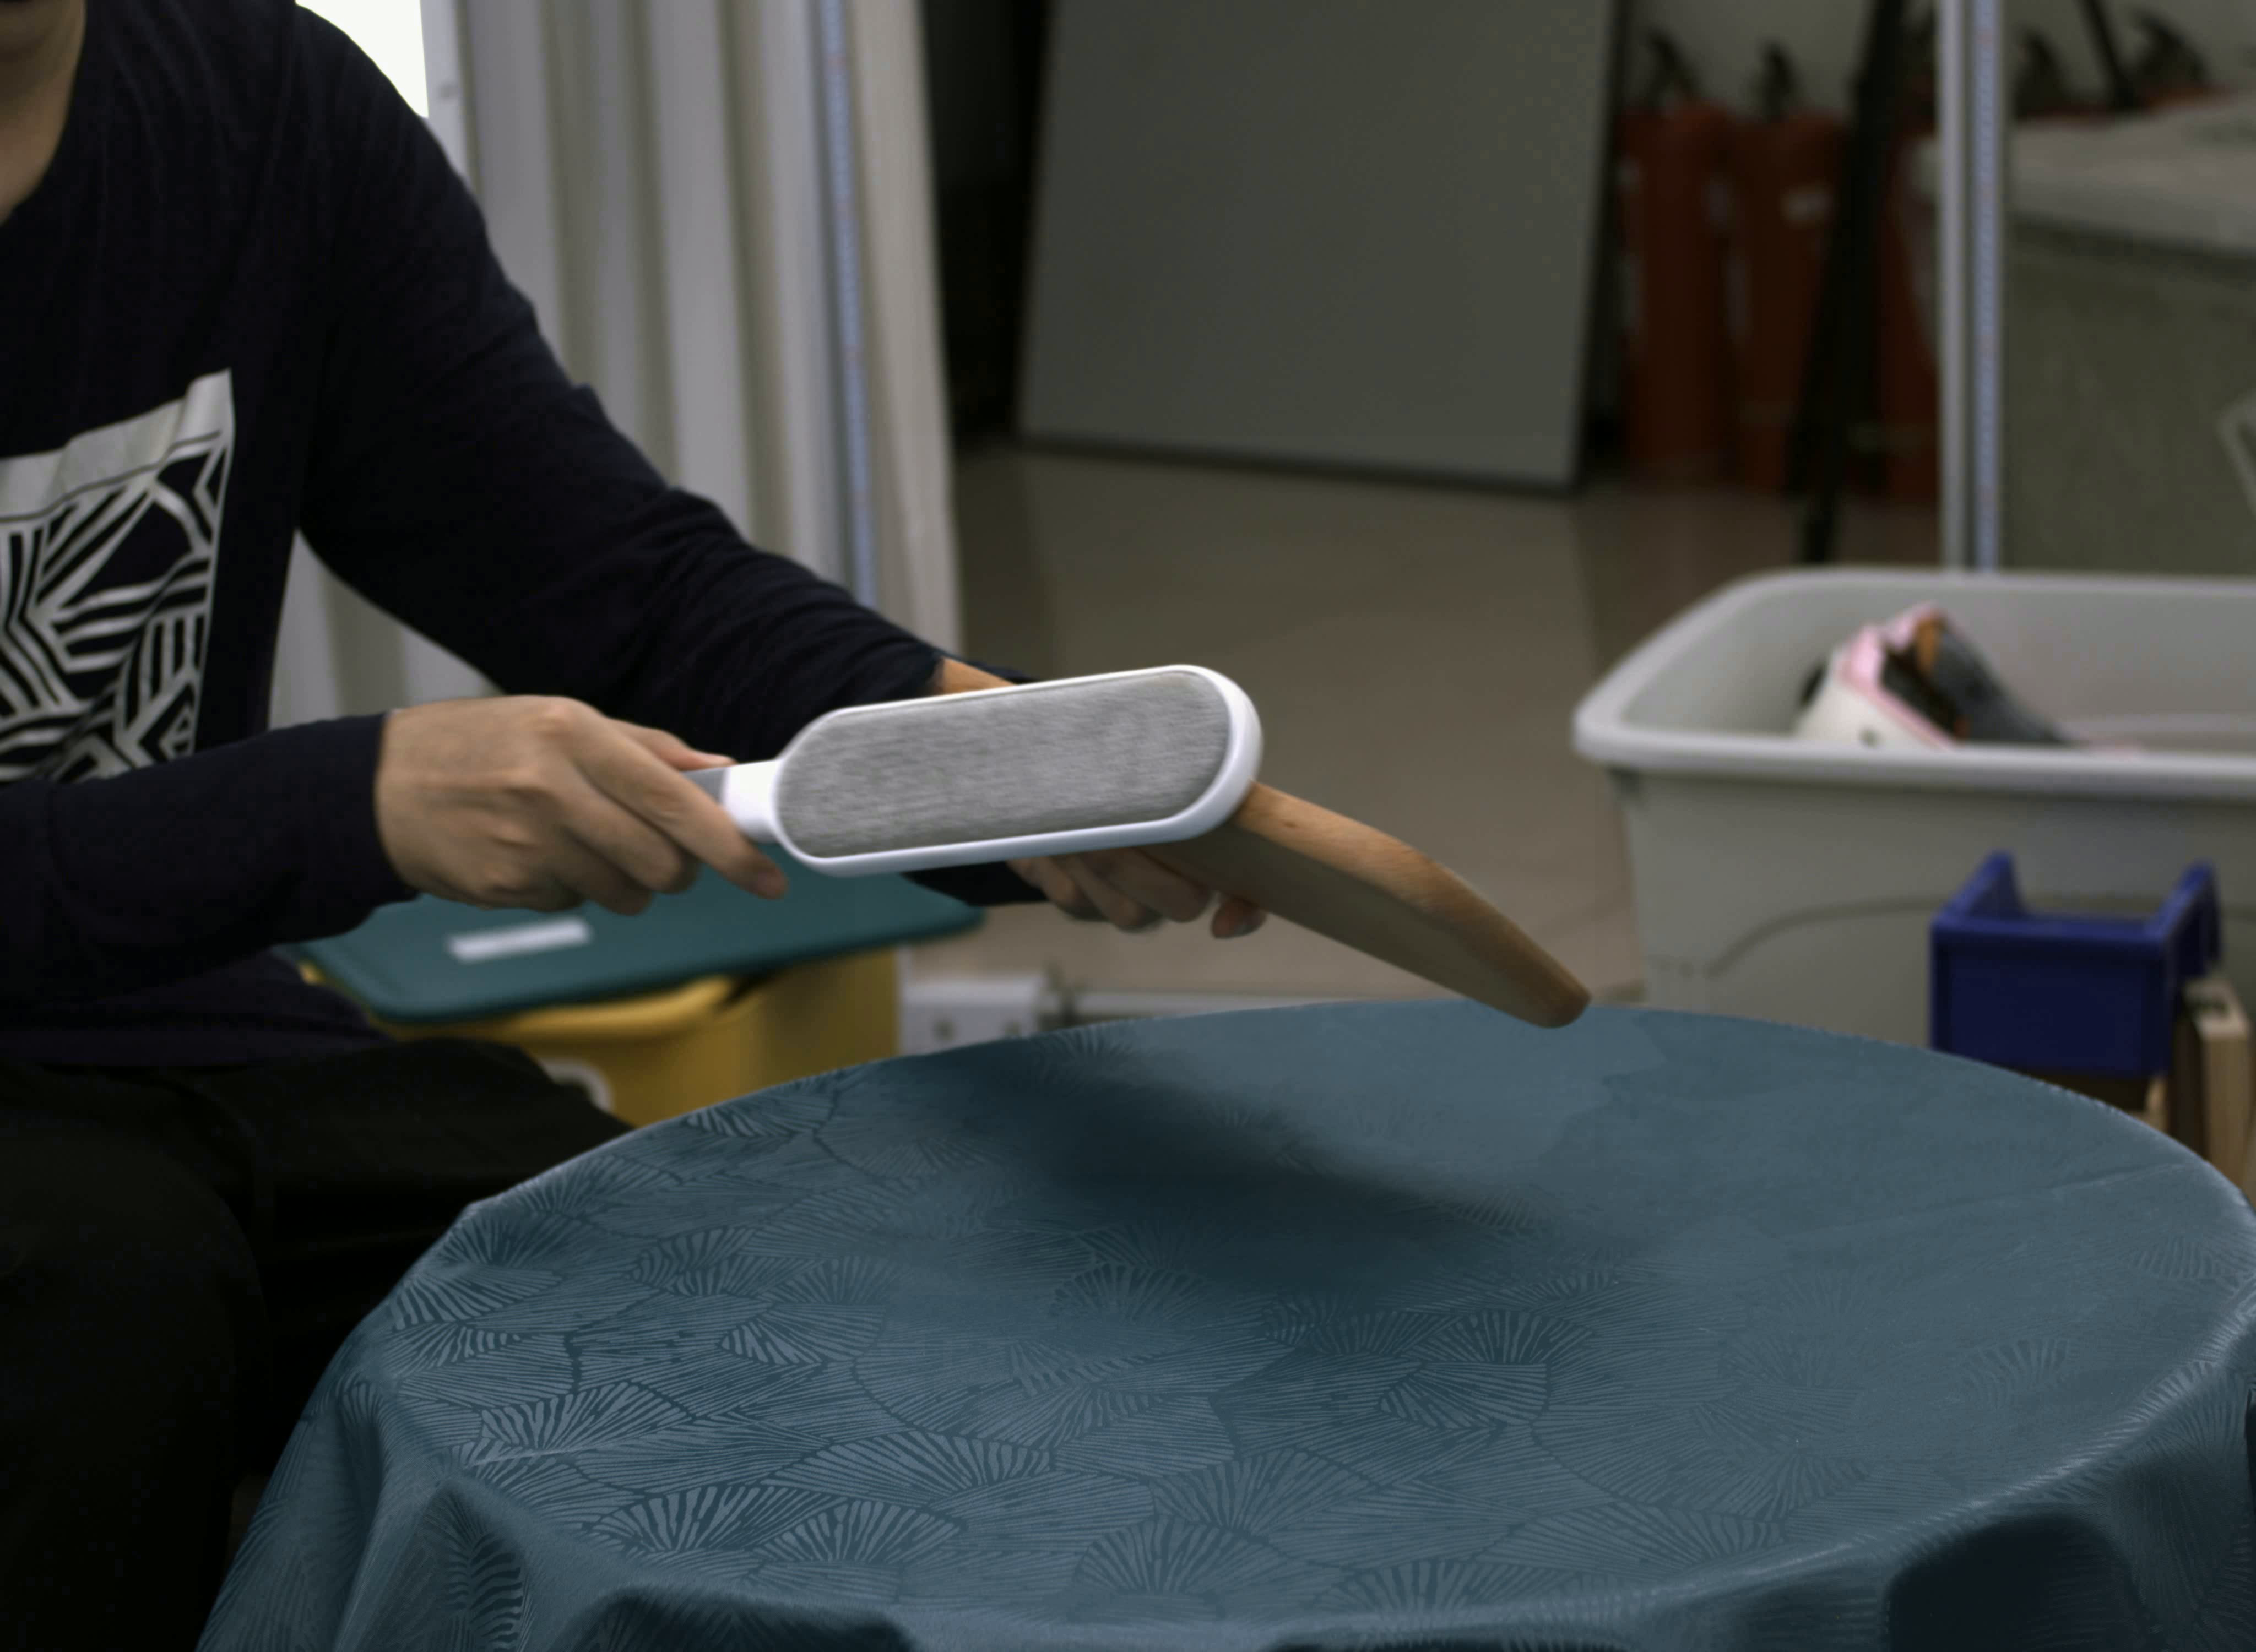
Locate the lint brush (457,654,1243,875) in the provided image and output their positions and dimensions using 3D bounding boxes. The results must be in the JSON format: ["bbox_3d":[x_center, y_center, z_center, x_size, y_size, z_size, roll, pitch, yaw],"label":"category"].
[{"bbox_3d":[-0.095,-0.014,1.756,0.310,0.061,0.020,-7,-18,33],"label":"lint brush"}]

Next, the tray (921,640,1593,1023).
[{"bbox_3d":[0.038,0.002,1.756,0.253,0.023,0.129,22,-16,45],"label":"tray"}]
